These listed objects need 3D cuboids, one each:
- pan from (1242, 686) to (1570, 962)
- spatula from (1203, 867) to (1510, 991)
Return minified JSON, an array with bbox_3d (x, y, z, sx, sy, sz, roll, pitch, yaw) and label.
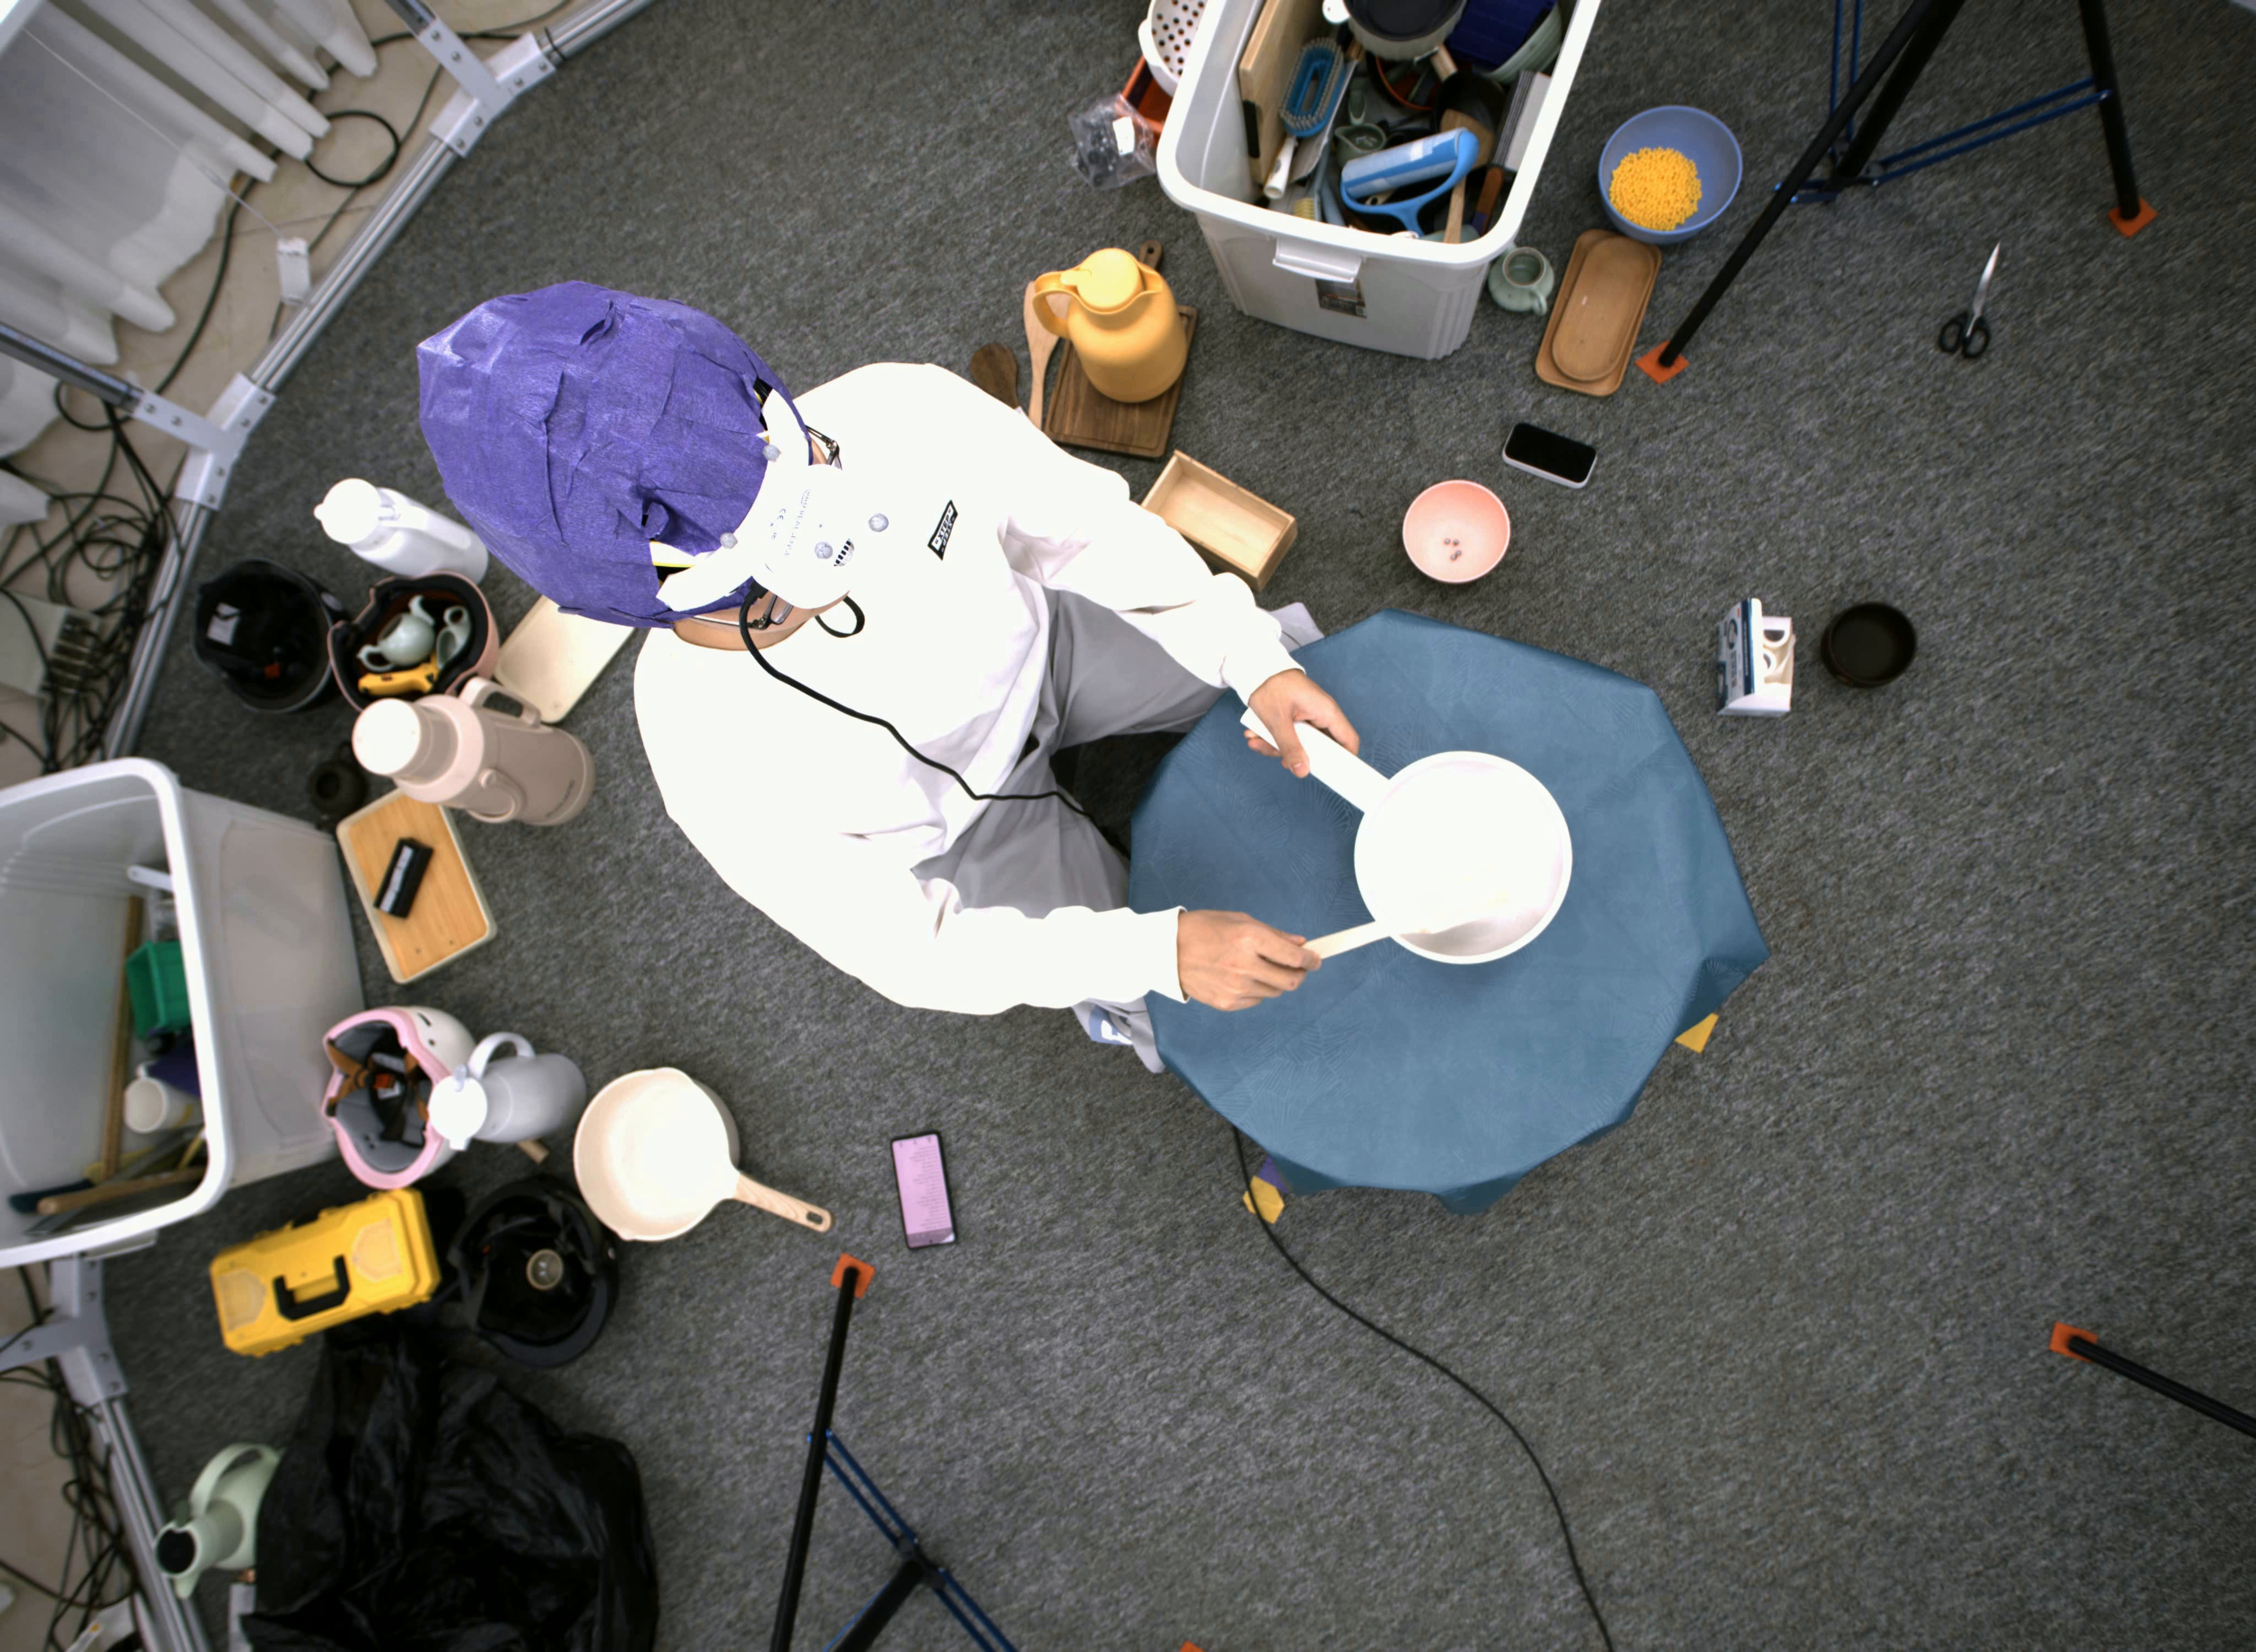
[{"bbox_3d":[0.268,-0.016,1.365,0.353,0.102,0.203,38,100,14],"label":"pan"},{"bbox_3d":[0.209,0.101,1.289,0.294,0.071,0.011,-19,116,3],"label":"spatula"}]
